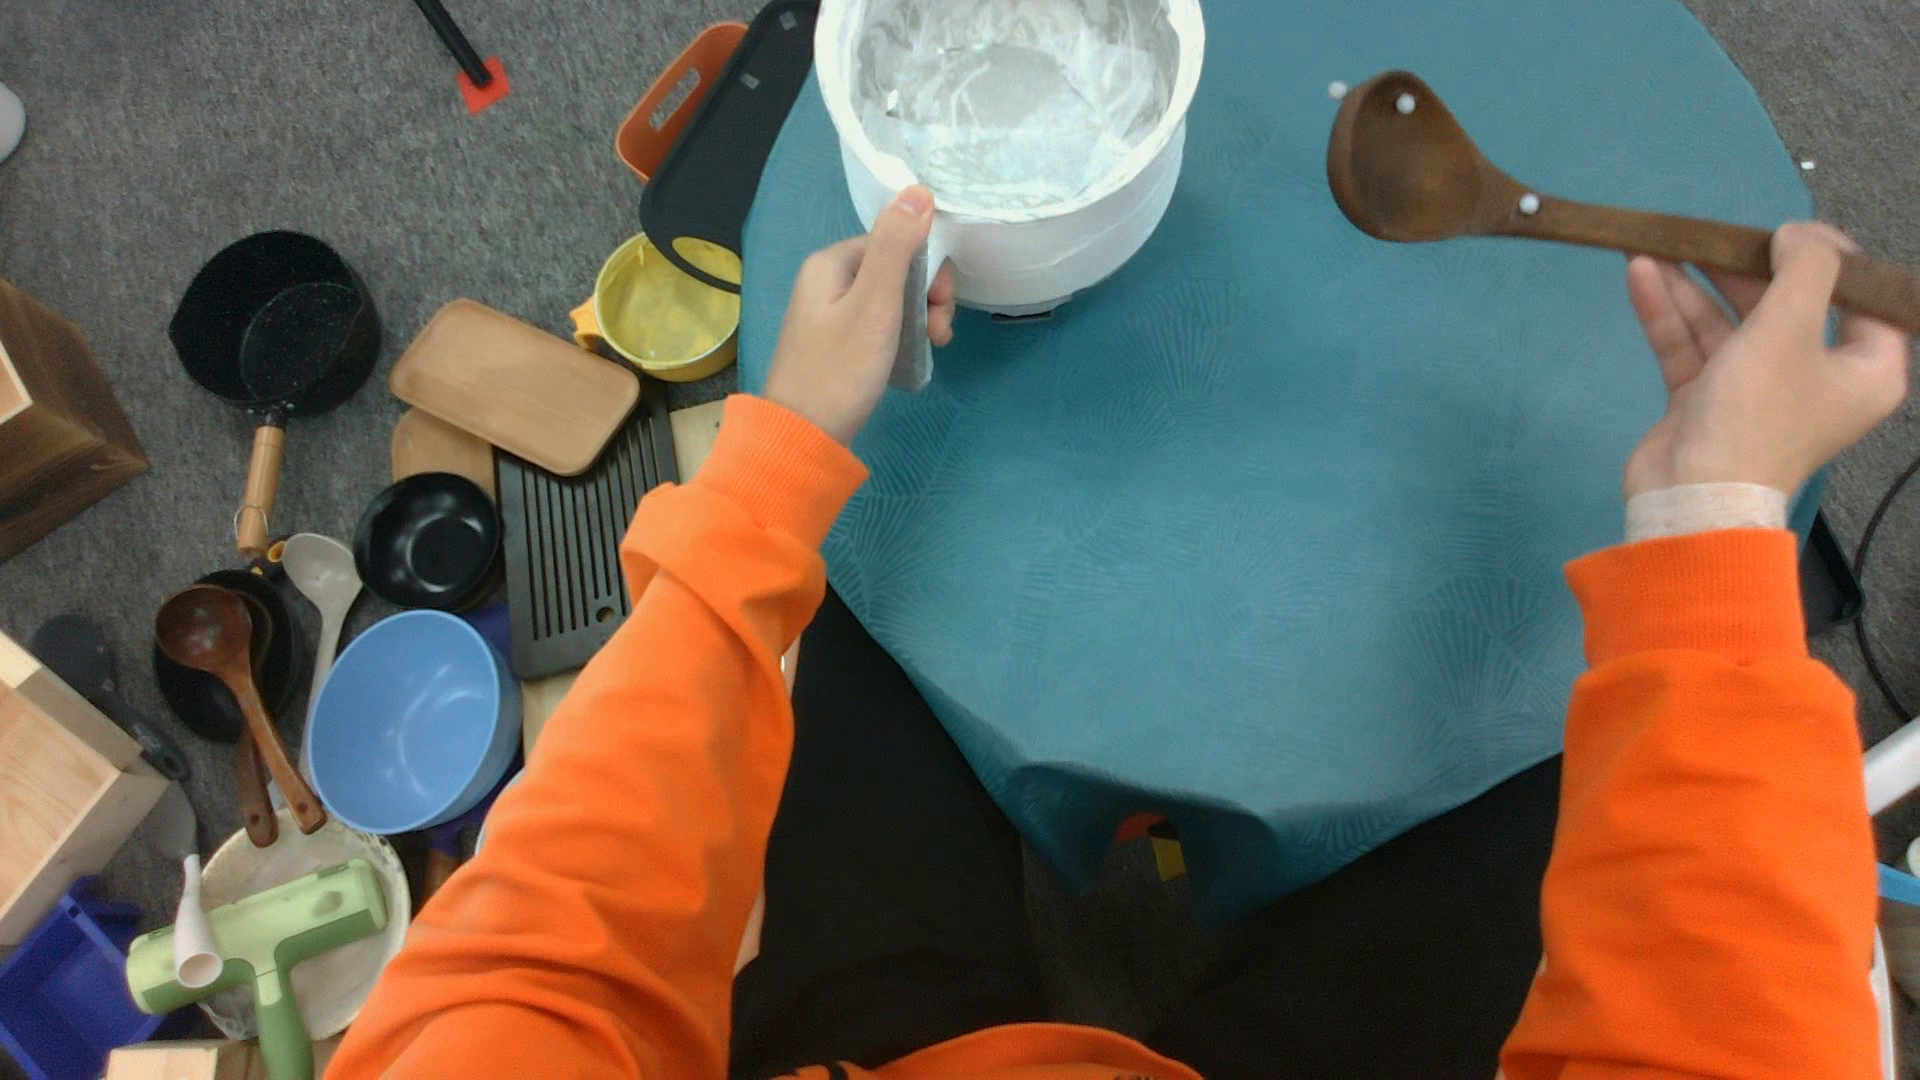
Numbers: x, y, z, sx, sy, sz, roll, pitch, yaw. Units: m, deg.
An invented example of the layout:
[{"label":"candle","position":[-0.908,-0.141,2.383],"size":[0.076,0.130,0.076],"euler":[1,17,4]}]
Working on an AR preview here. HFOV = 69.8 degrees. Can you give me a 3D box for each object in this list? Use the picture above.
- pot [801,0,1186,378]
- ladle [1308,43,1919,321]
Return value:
[{"label":"pot","position":[0.006,-0.197,0.685],"size":[0.178,0.136,0.234],"euler":[23,80,7]},{"label":"ladle","position":[0.280,-0.141,0.565],"size":[0.274,0.071,0.076],"euler":[19,84,17]}]
